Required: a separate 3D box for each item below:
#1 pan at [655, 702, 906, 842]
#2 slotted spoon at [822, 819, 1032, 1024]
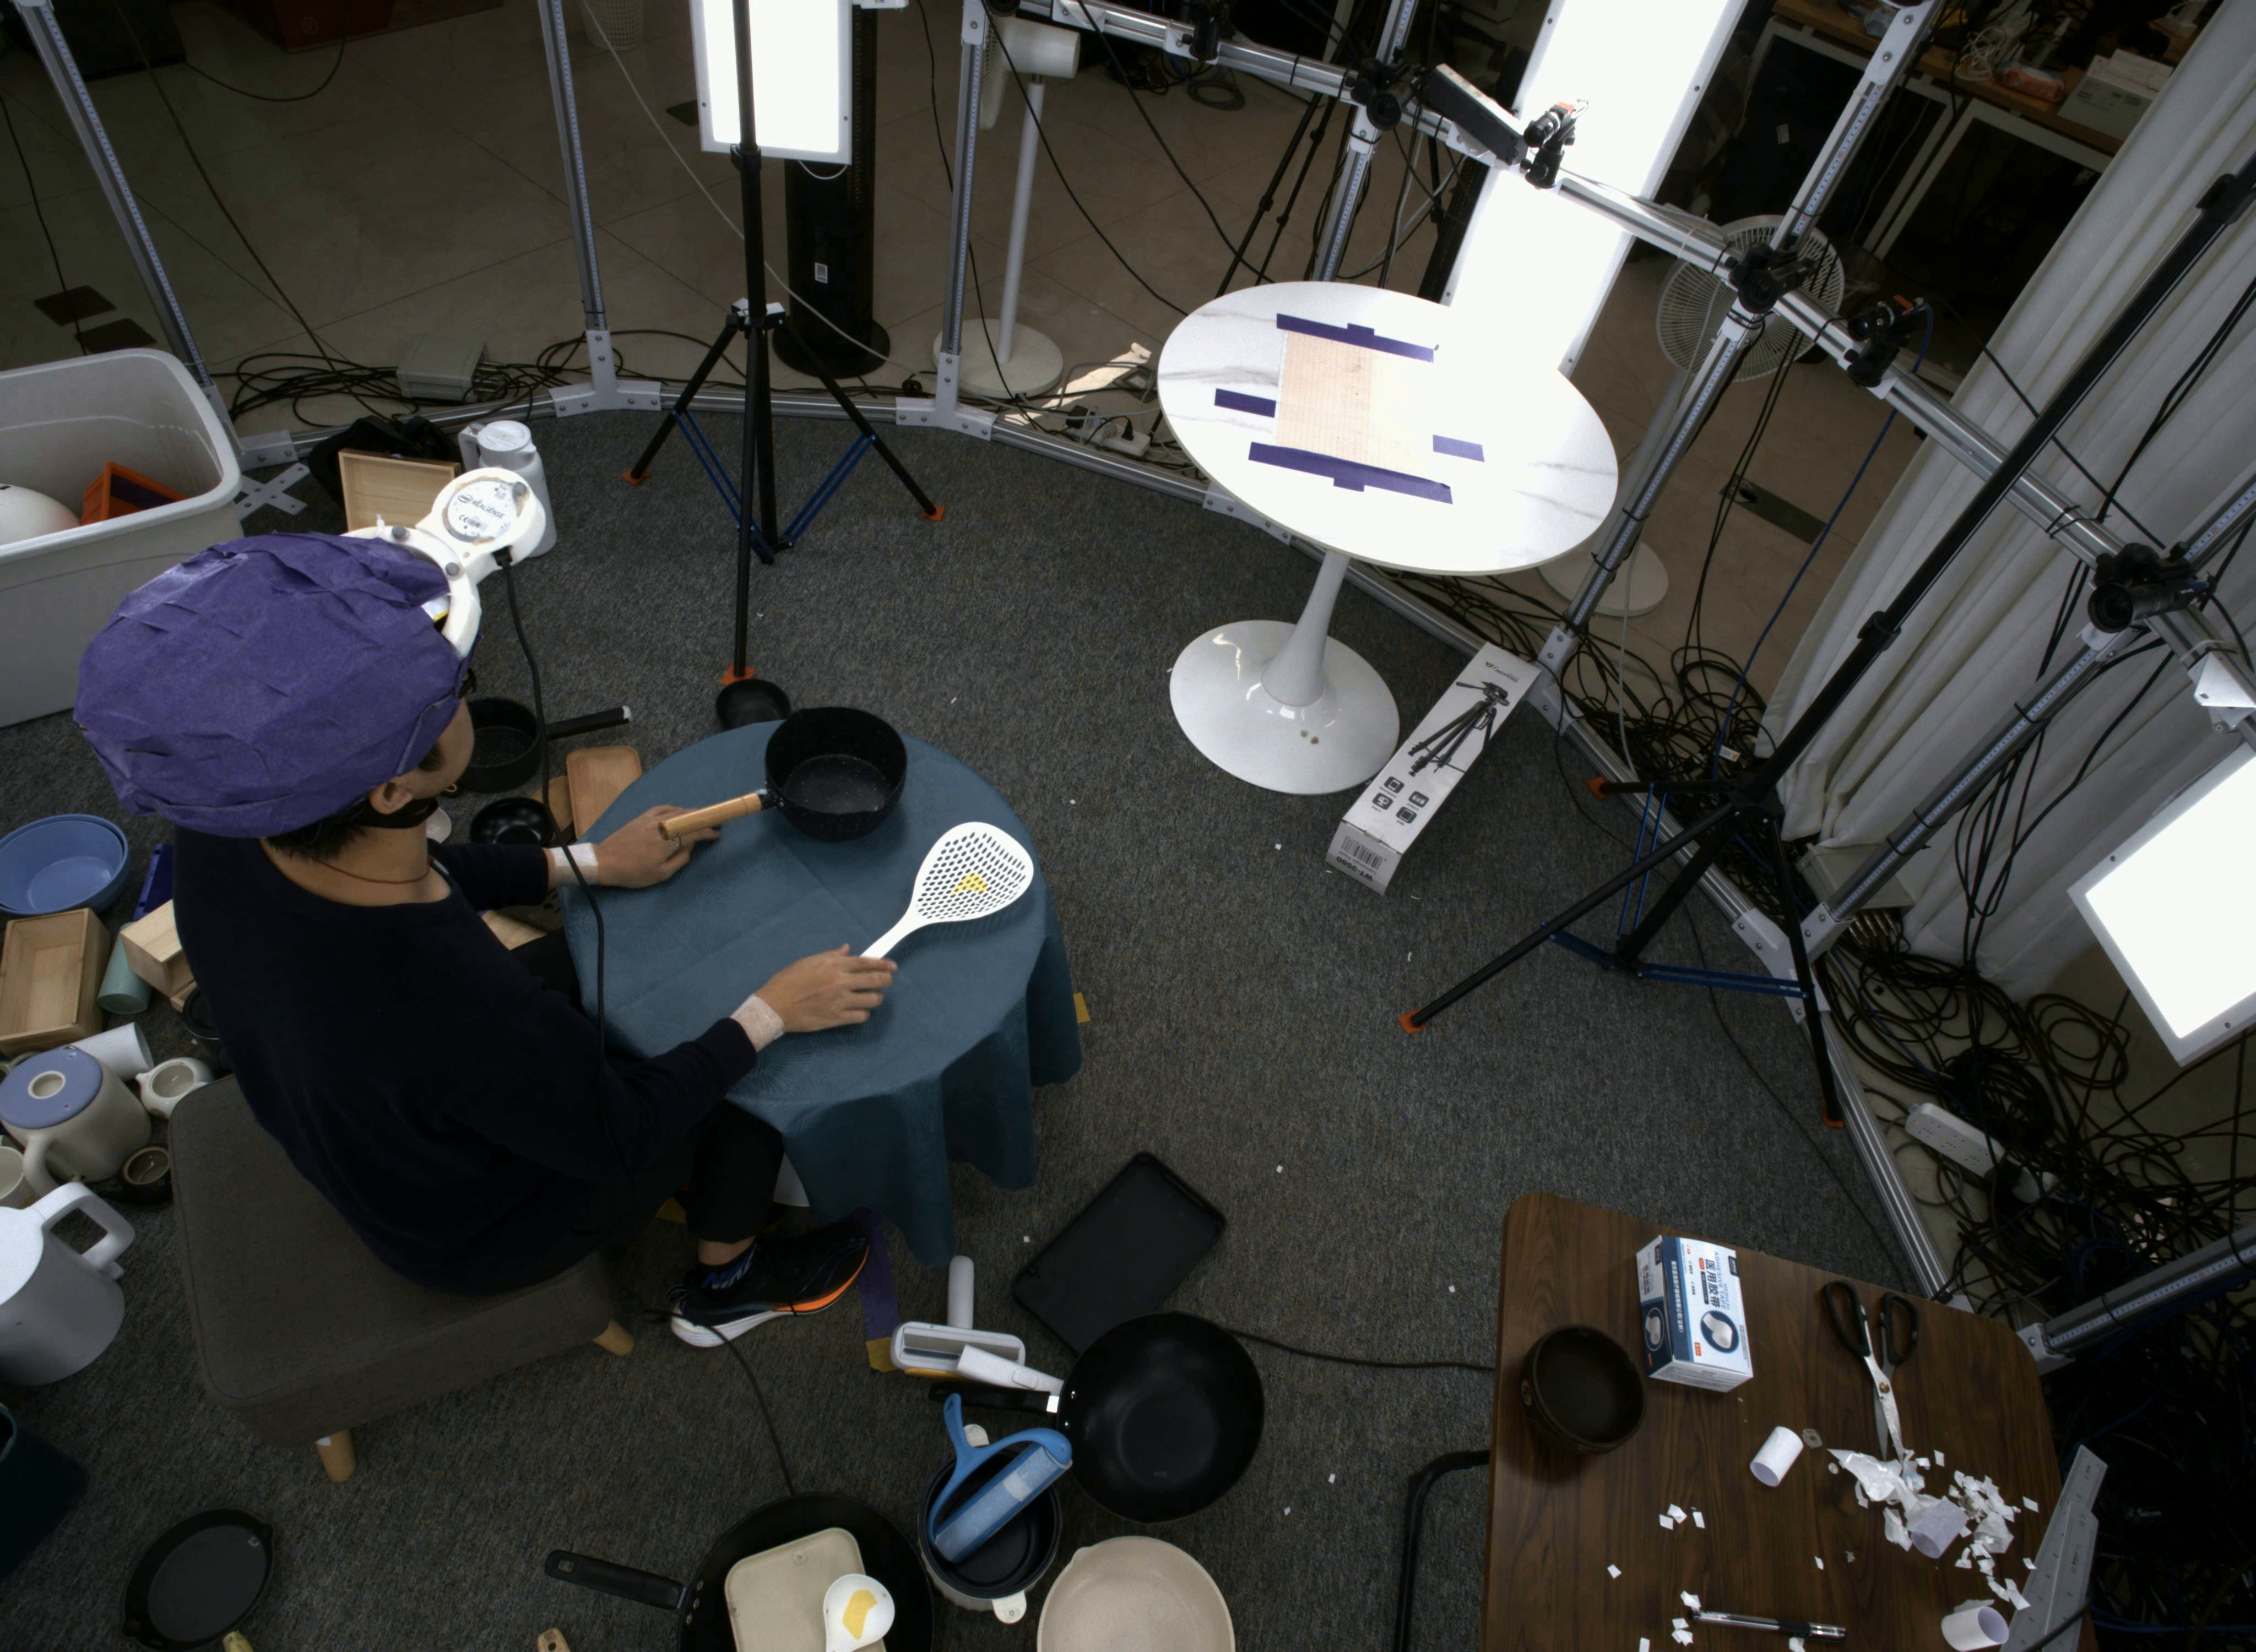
[{"bbox_3d":[-0.445,-0.038,1.667,0.344,0.110,0.203,-30,67,-33],"label":"pan"},{"bbox_3d":[-0.263,0.119,1.640,0.134,0.051,0.348,38,52,12],"label":"slotted spoon"}]
